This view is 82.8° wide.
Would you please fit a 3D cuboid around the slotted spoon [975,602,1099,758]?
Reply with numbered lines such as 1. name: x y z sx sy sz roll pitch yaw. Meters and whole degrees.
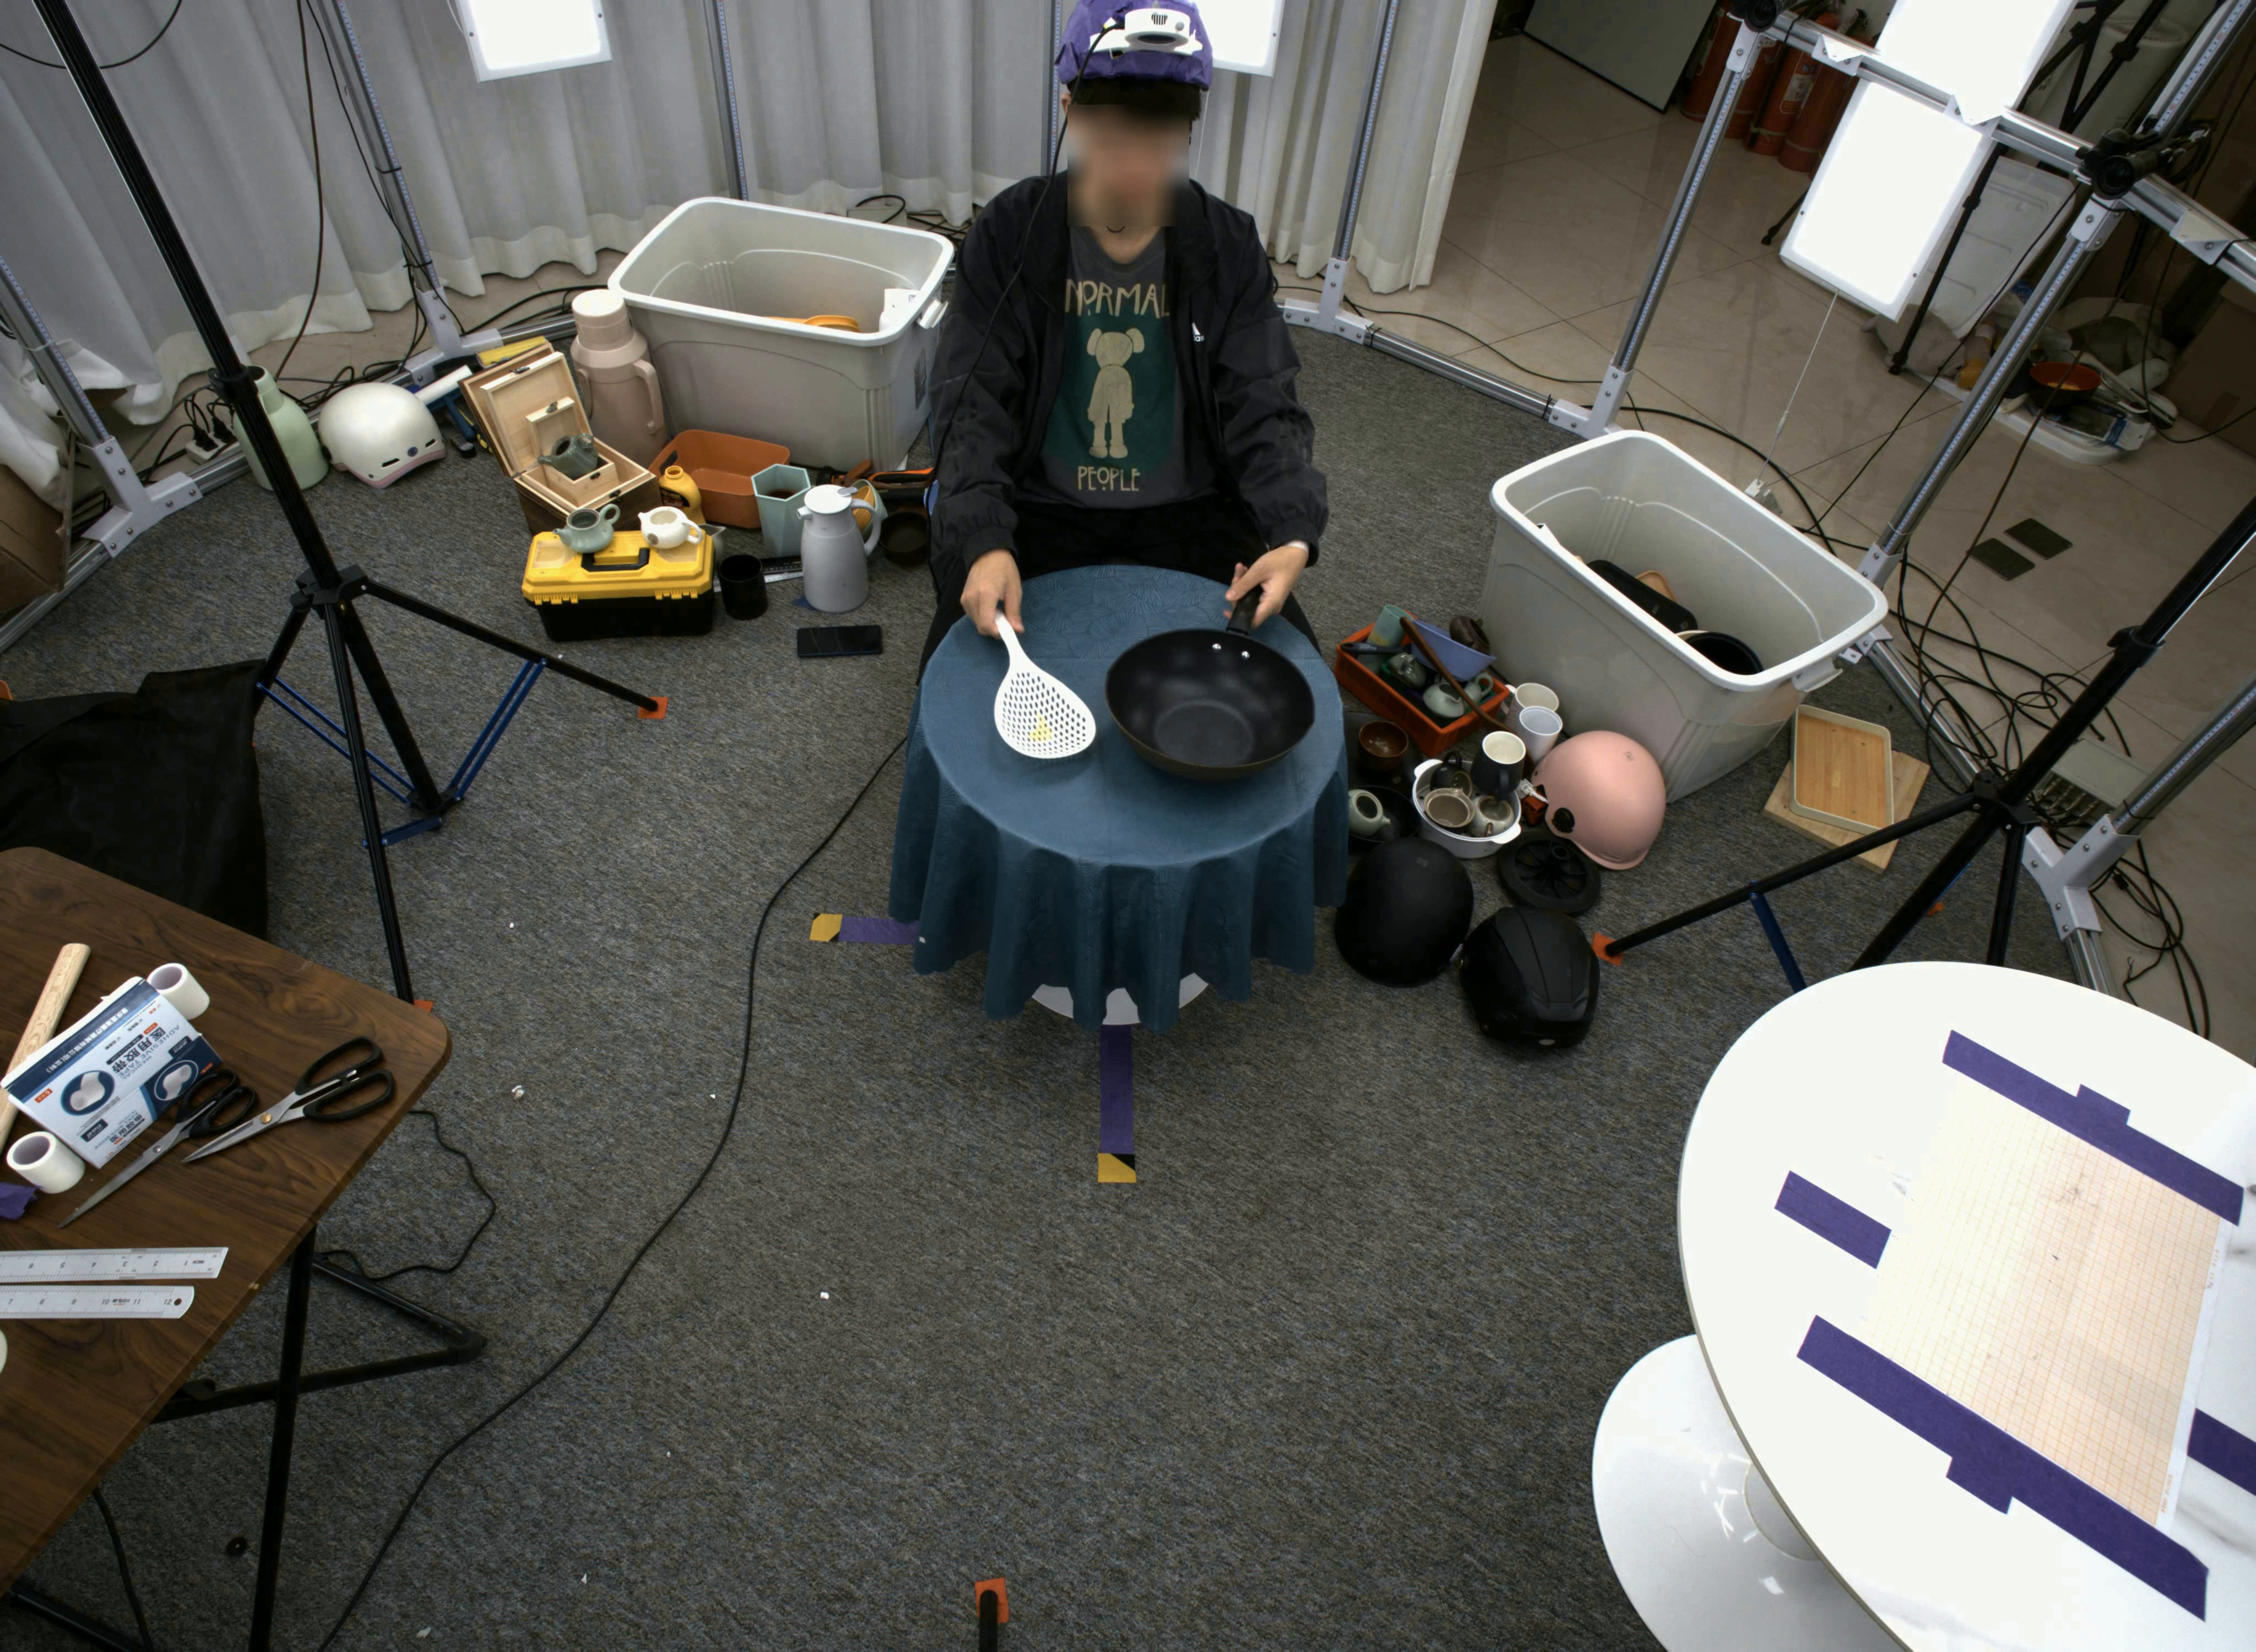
1. slotted spoon: -0.149 -0.215 1.807 0.137 0.049 0.356 -12 54 -19

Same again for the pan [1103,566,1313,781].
1. pan: 0.134 -0.214 1.810 0.289 0.085 0.473 15 46 10
